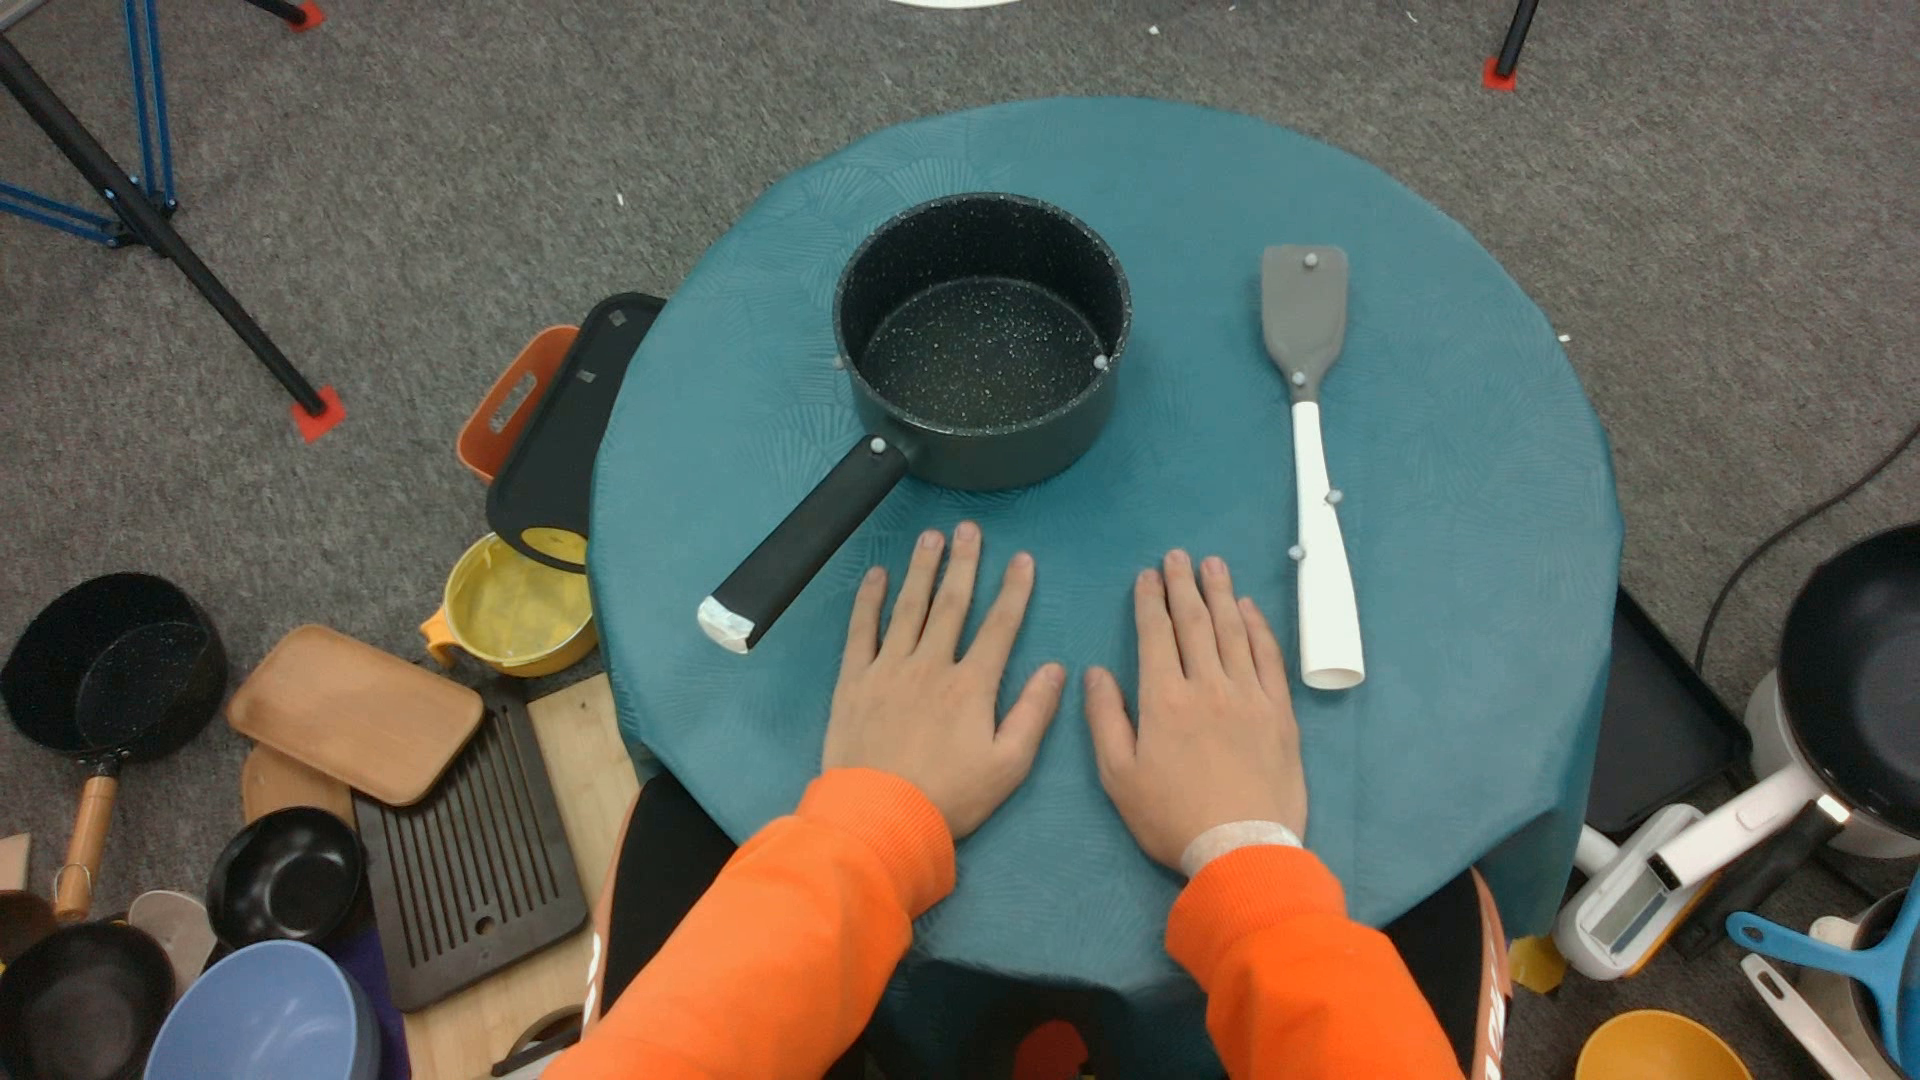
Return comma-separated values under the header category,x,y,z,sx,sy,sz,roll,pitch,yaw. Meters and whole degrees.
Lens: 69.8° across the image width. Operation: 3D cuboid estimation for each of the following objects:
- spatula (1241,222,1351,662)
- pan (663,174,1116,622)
category,x,y,z,sx,sy,sz,roll,pitch,yaw
spatula,0.198,-0.067,0.802,0.058,0.032,0.288,-1,63,6
pan,-0.042,-0.069,0.780,0.172,0.086,0.330,31,66,17
